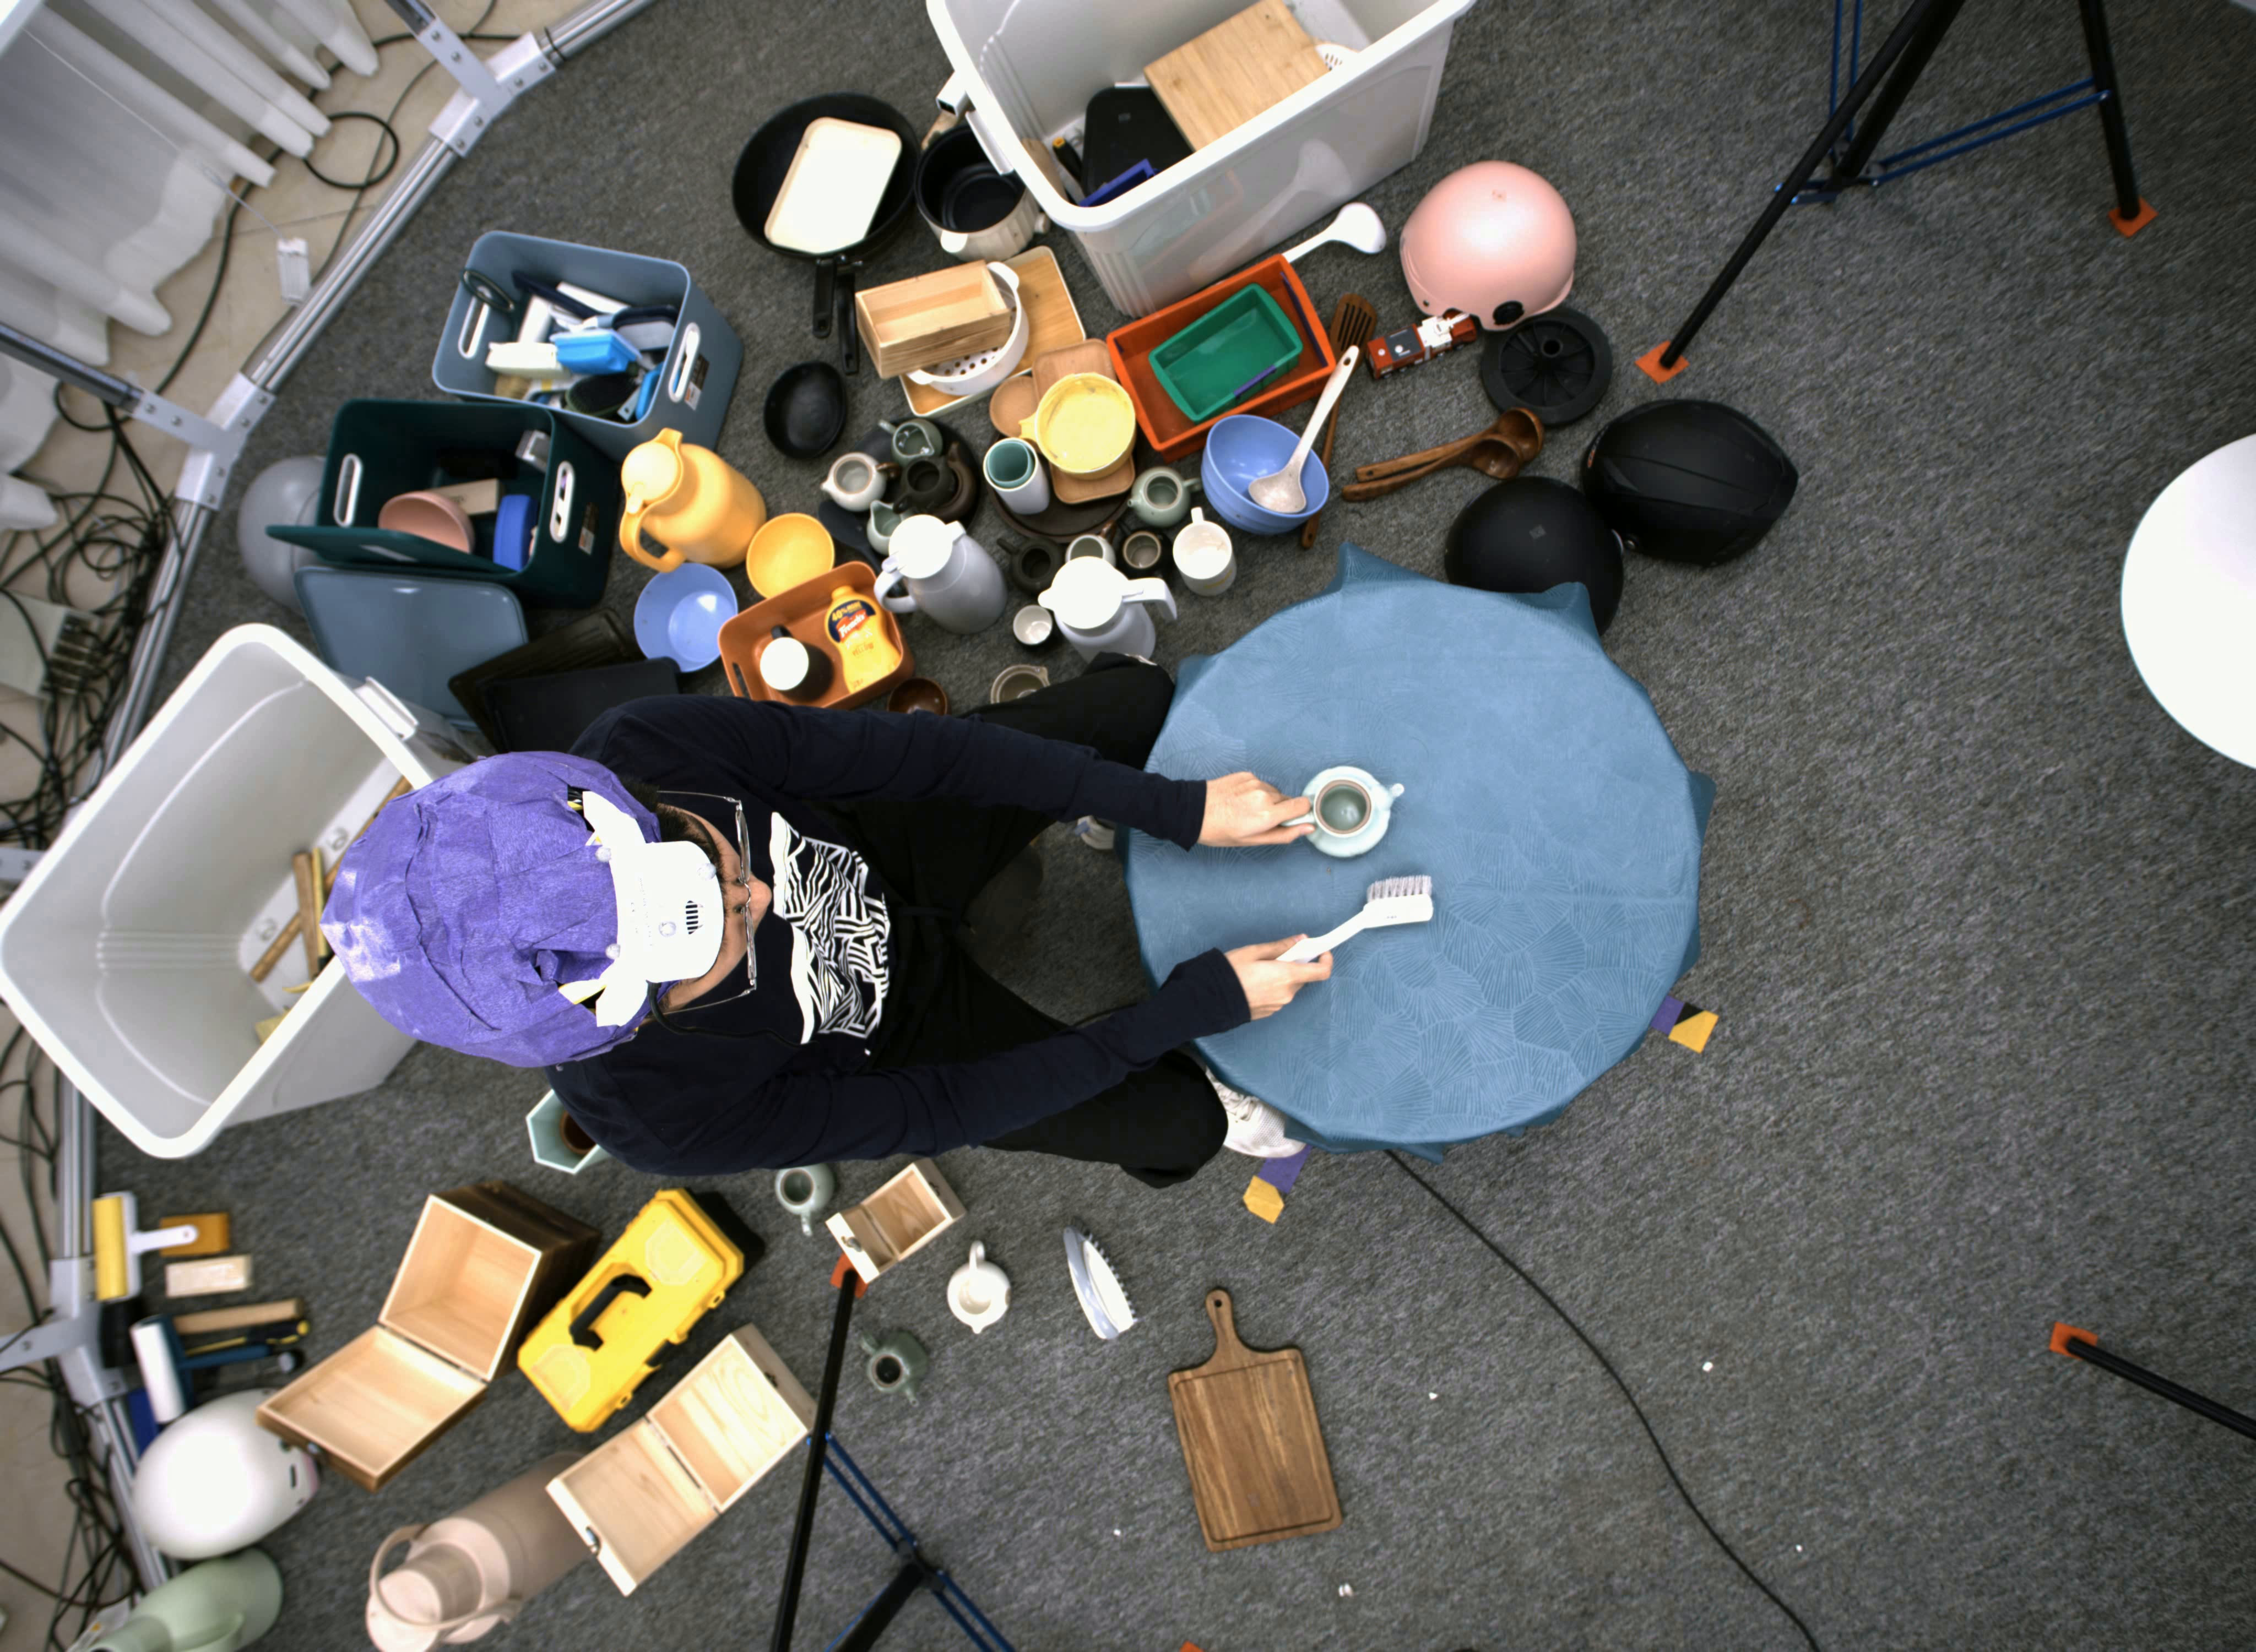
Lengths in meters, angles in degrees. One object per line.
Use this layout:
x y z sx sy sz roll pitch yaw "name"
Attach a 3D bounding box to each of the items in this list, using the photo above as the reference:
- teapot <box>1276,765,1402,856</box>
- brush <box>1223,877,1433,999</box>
0.220 -0.017 1.442 0.137 0.061 0.096 -20 86 8 "teapot"
0.204 0.111 1.432 0.244 0.035 0.049 -23 59 4 "brush"
